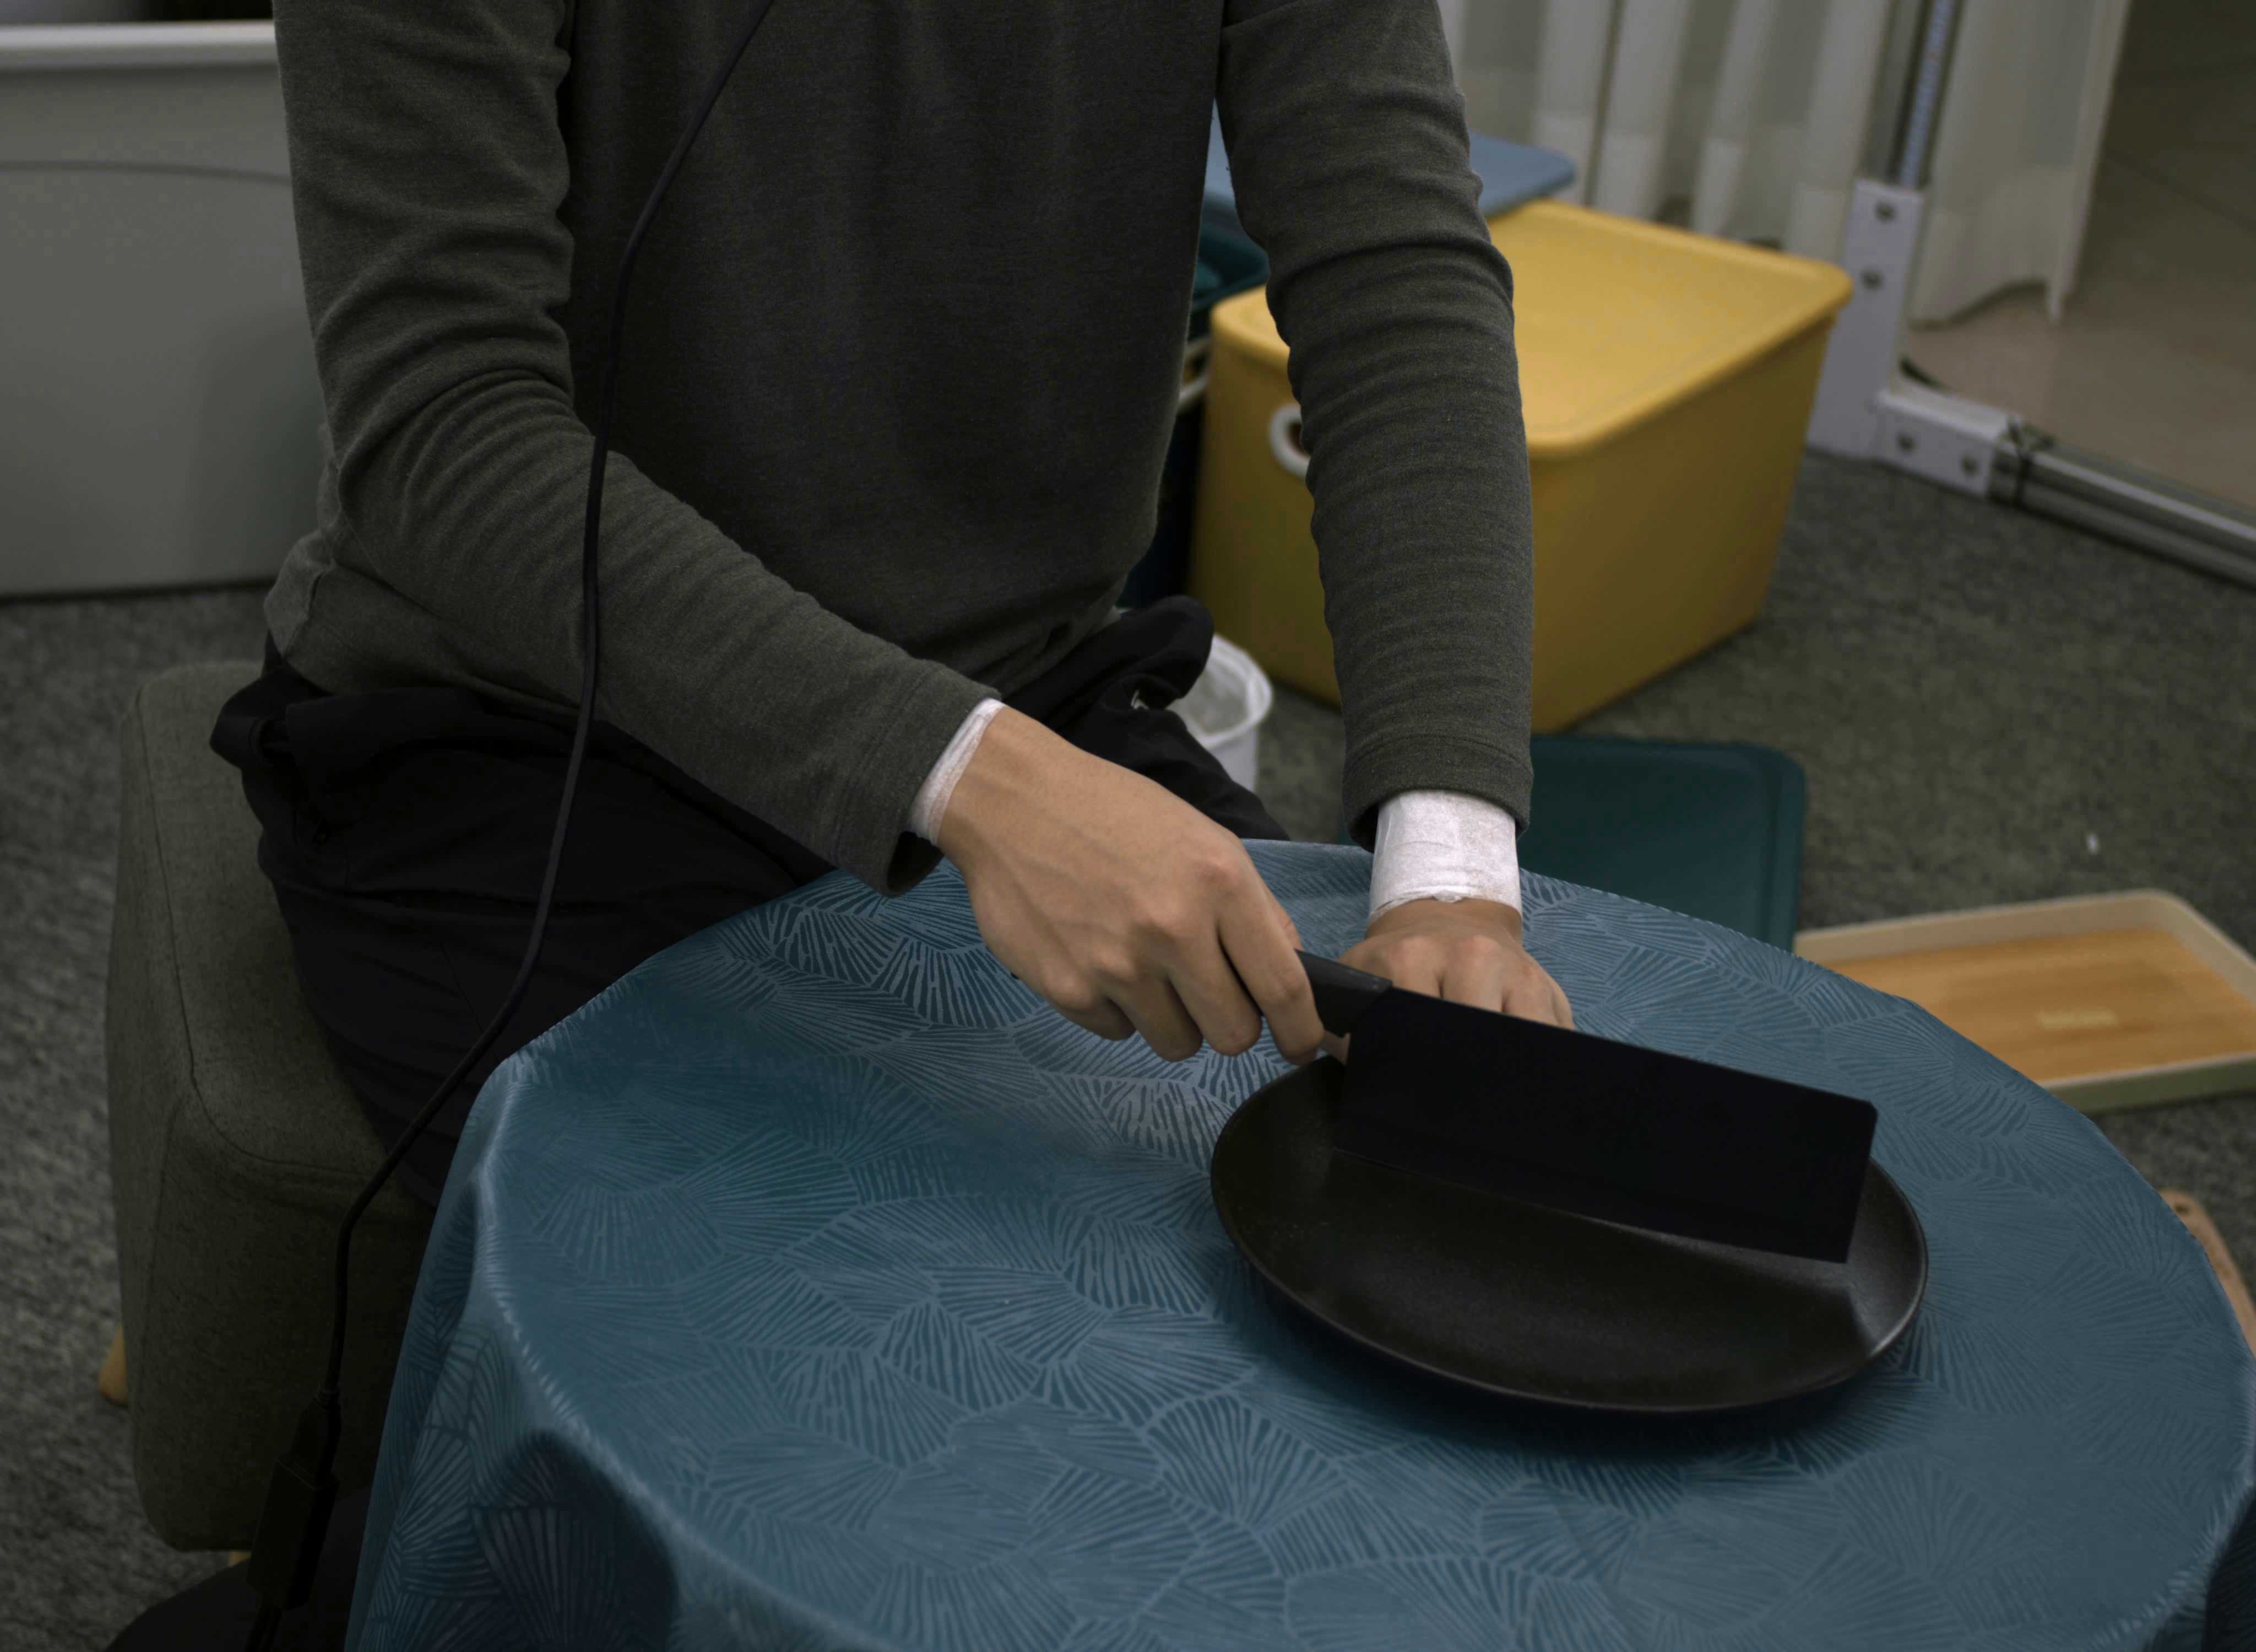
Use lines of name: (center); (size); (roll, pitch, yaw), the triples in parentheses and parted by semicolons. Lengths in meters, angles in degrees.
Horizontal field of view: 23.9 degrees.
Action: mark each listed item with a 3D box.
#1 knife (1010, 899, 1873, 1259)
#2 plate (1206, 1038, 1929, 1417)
knife: (0.103, 0.083, 1.804); (0.303, 0.081, 0.021); (18, 23, 12)
plate: (0.147, 0.137, 1.786); (0.243, 0.023, 0.246); (5, 27, -3)
